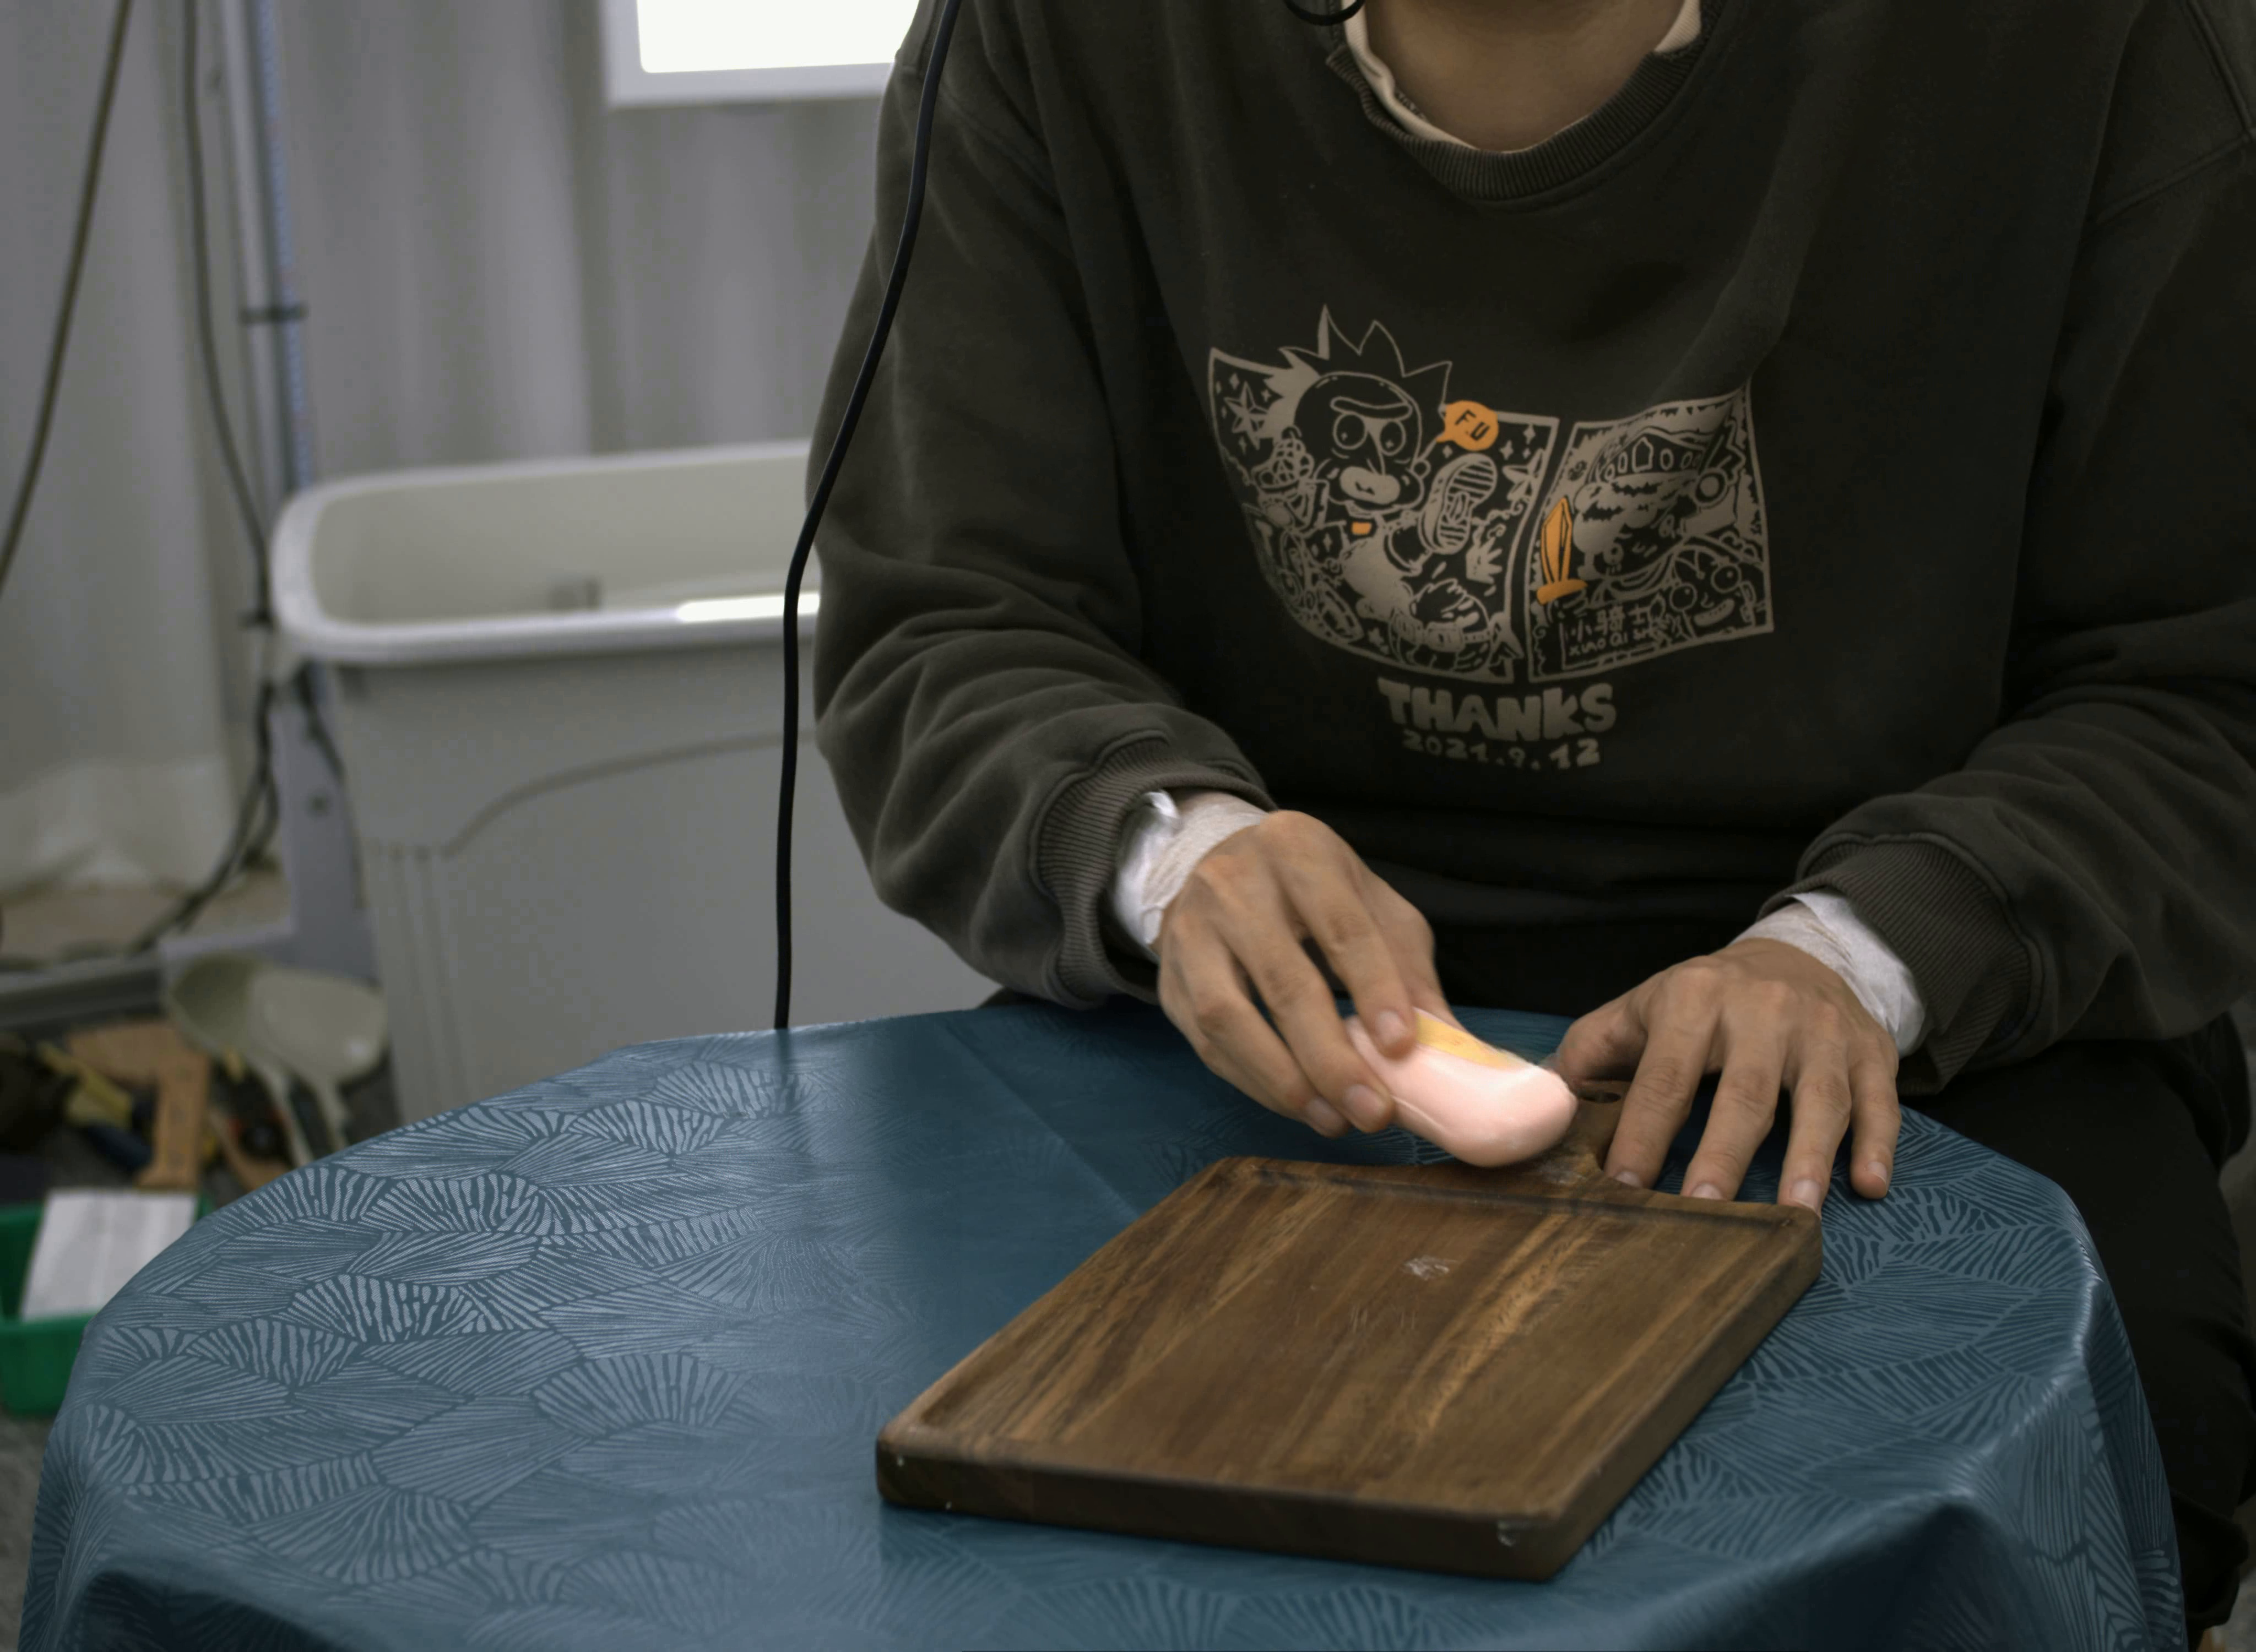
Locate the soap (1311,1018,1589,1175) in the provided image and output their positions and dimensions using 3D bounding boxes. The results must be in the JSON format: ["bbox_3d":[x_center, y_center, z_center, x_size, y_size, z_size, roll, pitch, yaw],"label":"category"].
[{"bbox_3d":[0.098,0.083,1.680,0.050,0.030,0.095,-13,21,-36],"label":"soap"}]

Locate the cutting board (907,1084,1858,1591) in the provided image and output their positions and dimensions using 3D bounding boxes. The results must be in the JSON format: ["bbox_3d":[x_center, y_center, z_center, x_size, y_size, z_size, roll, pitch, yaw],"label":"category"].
[{"bbox_3d":[0.097,0.137,1.581,0.201,0.023,0.353,4,16,24],"label":"cutting board"}]
